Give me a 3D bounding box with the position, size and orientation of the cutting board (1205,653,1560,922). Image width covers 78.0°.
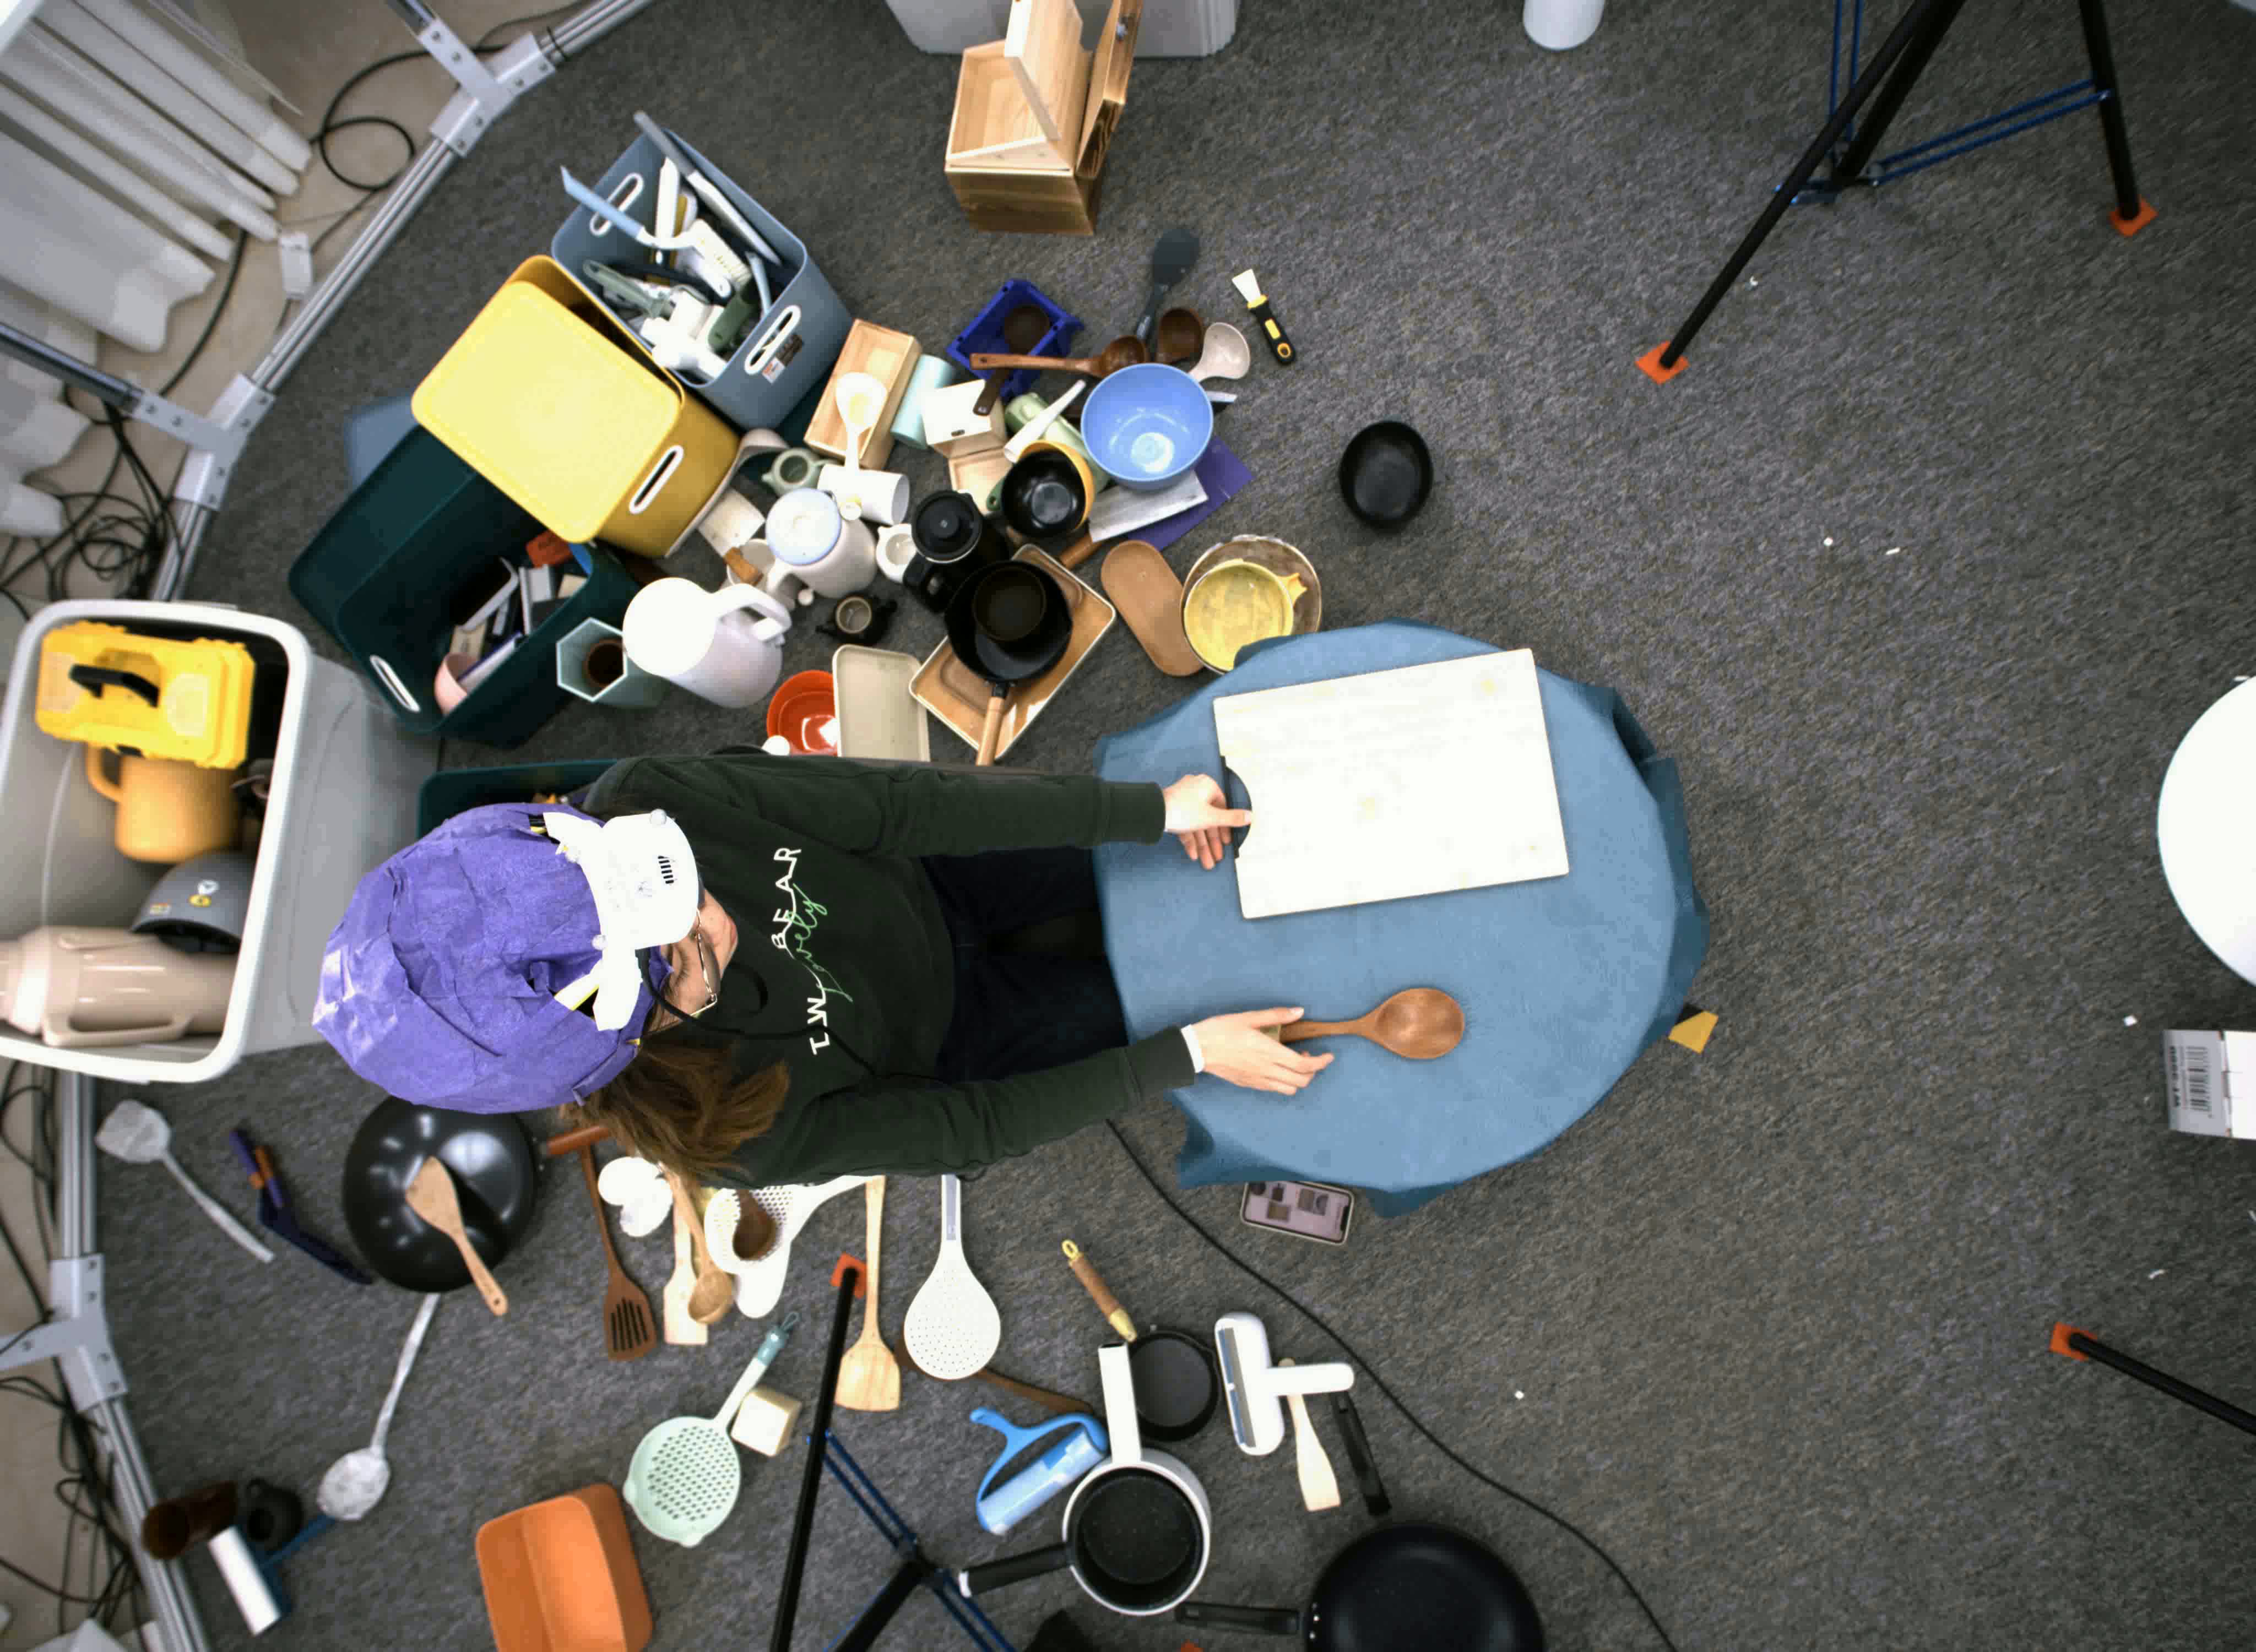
[{"bbox_3d":[0.270,-0.041,1.464,0.350,0.023,0.249,-9,84,10],"label":"cutting board"}]

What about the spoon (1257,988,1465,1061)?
[{"bbox_3d":[0.243,0.211,1.451,0.217,0.017,0.075,-5,87,9],"label":"spoon"}]
